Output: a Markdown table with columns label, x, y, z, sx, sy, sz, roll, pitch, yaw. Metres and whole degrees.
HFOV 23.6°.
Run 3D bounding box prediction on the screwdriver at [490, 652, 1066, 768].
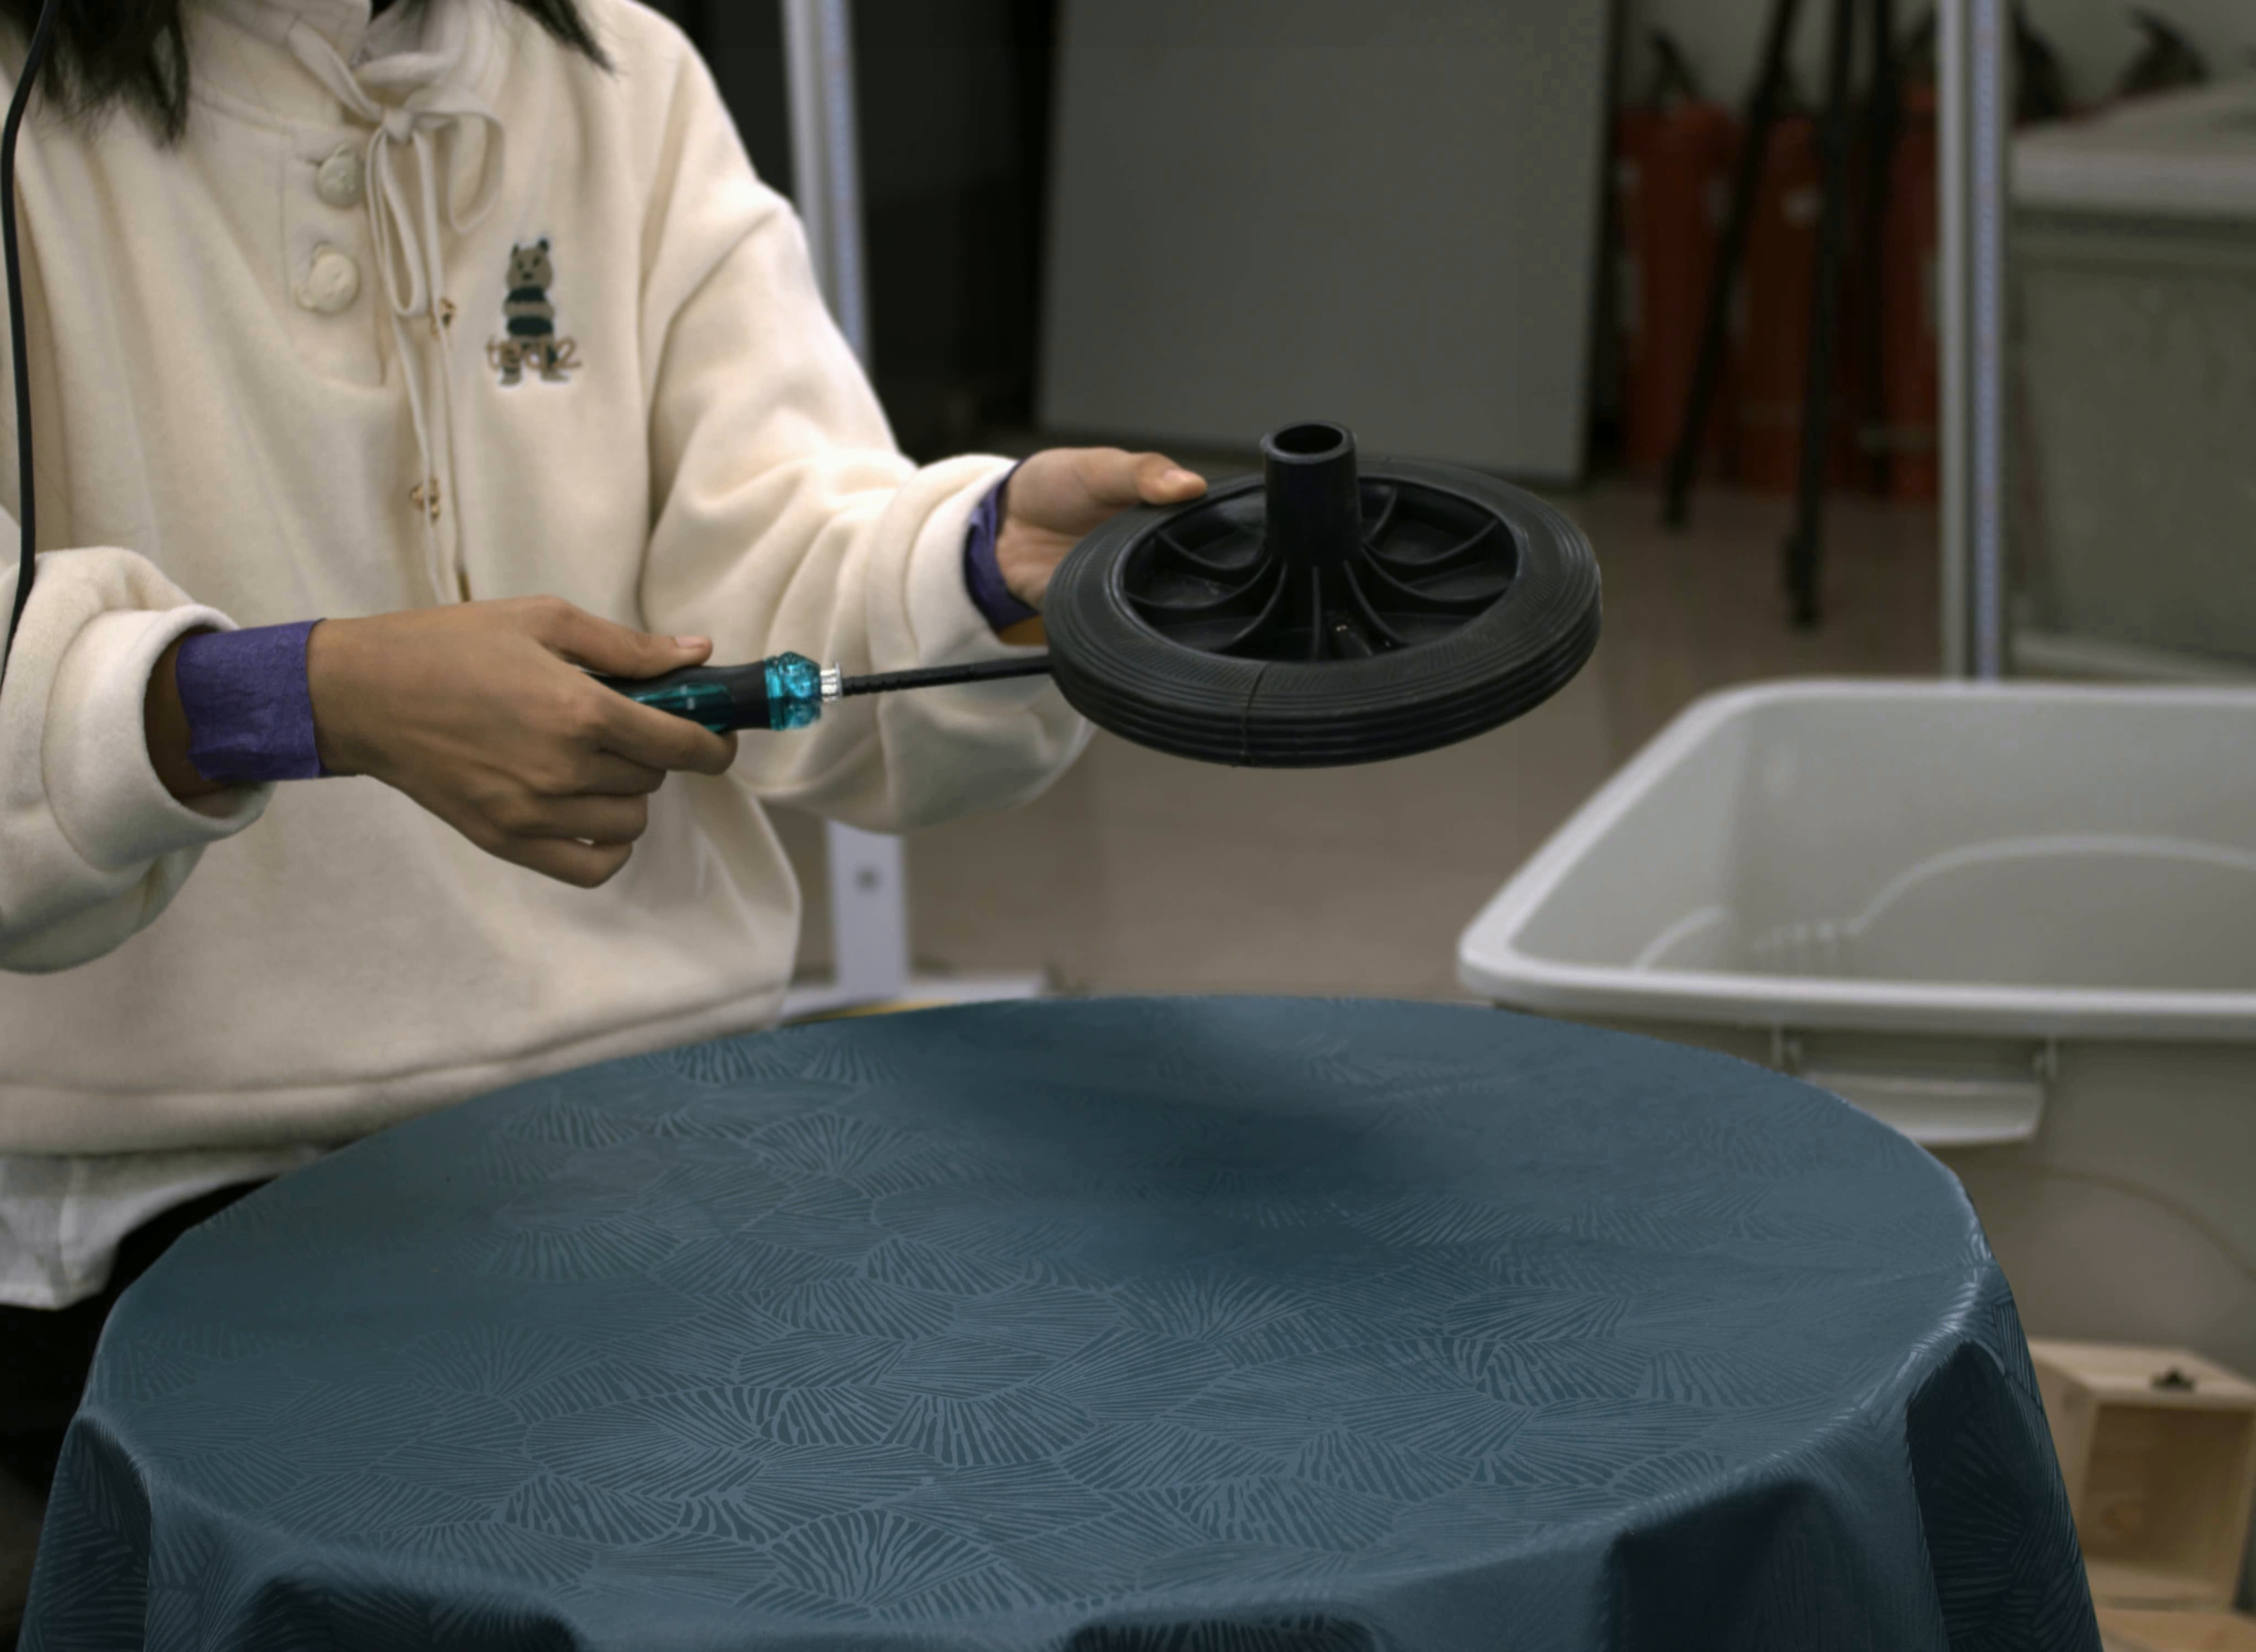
| label | x | y | z | sx | sy | sz | roll | pitch | yaw |
| --- | --- | --- | --- | --- | --- | --- | --- | --- | --- |
| screwdriver | -0.113 | -0.043 | 1.763 | 0.187 | 0.034 | 0.034 | -7 | 14 | -3 |

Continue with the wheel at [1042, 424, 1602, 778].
| label | x | y | z | sx | sy | sz | roll | pitch | yaw |
| --- | --- | --- | --- | --- | --- | --- | --- | --- | --- |
| wheel | 0.063 | -0.090 | 1.787 | 0.184 | 0.079 | 0.192 | -25 | 36 | -29 |
